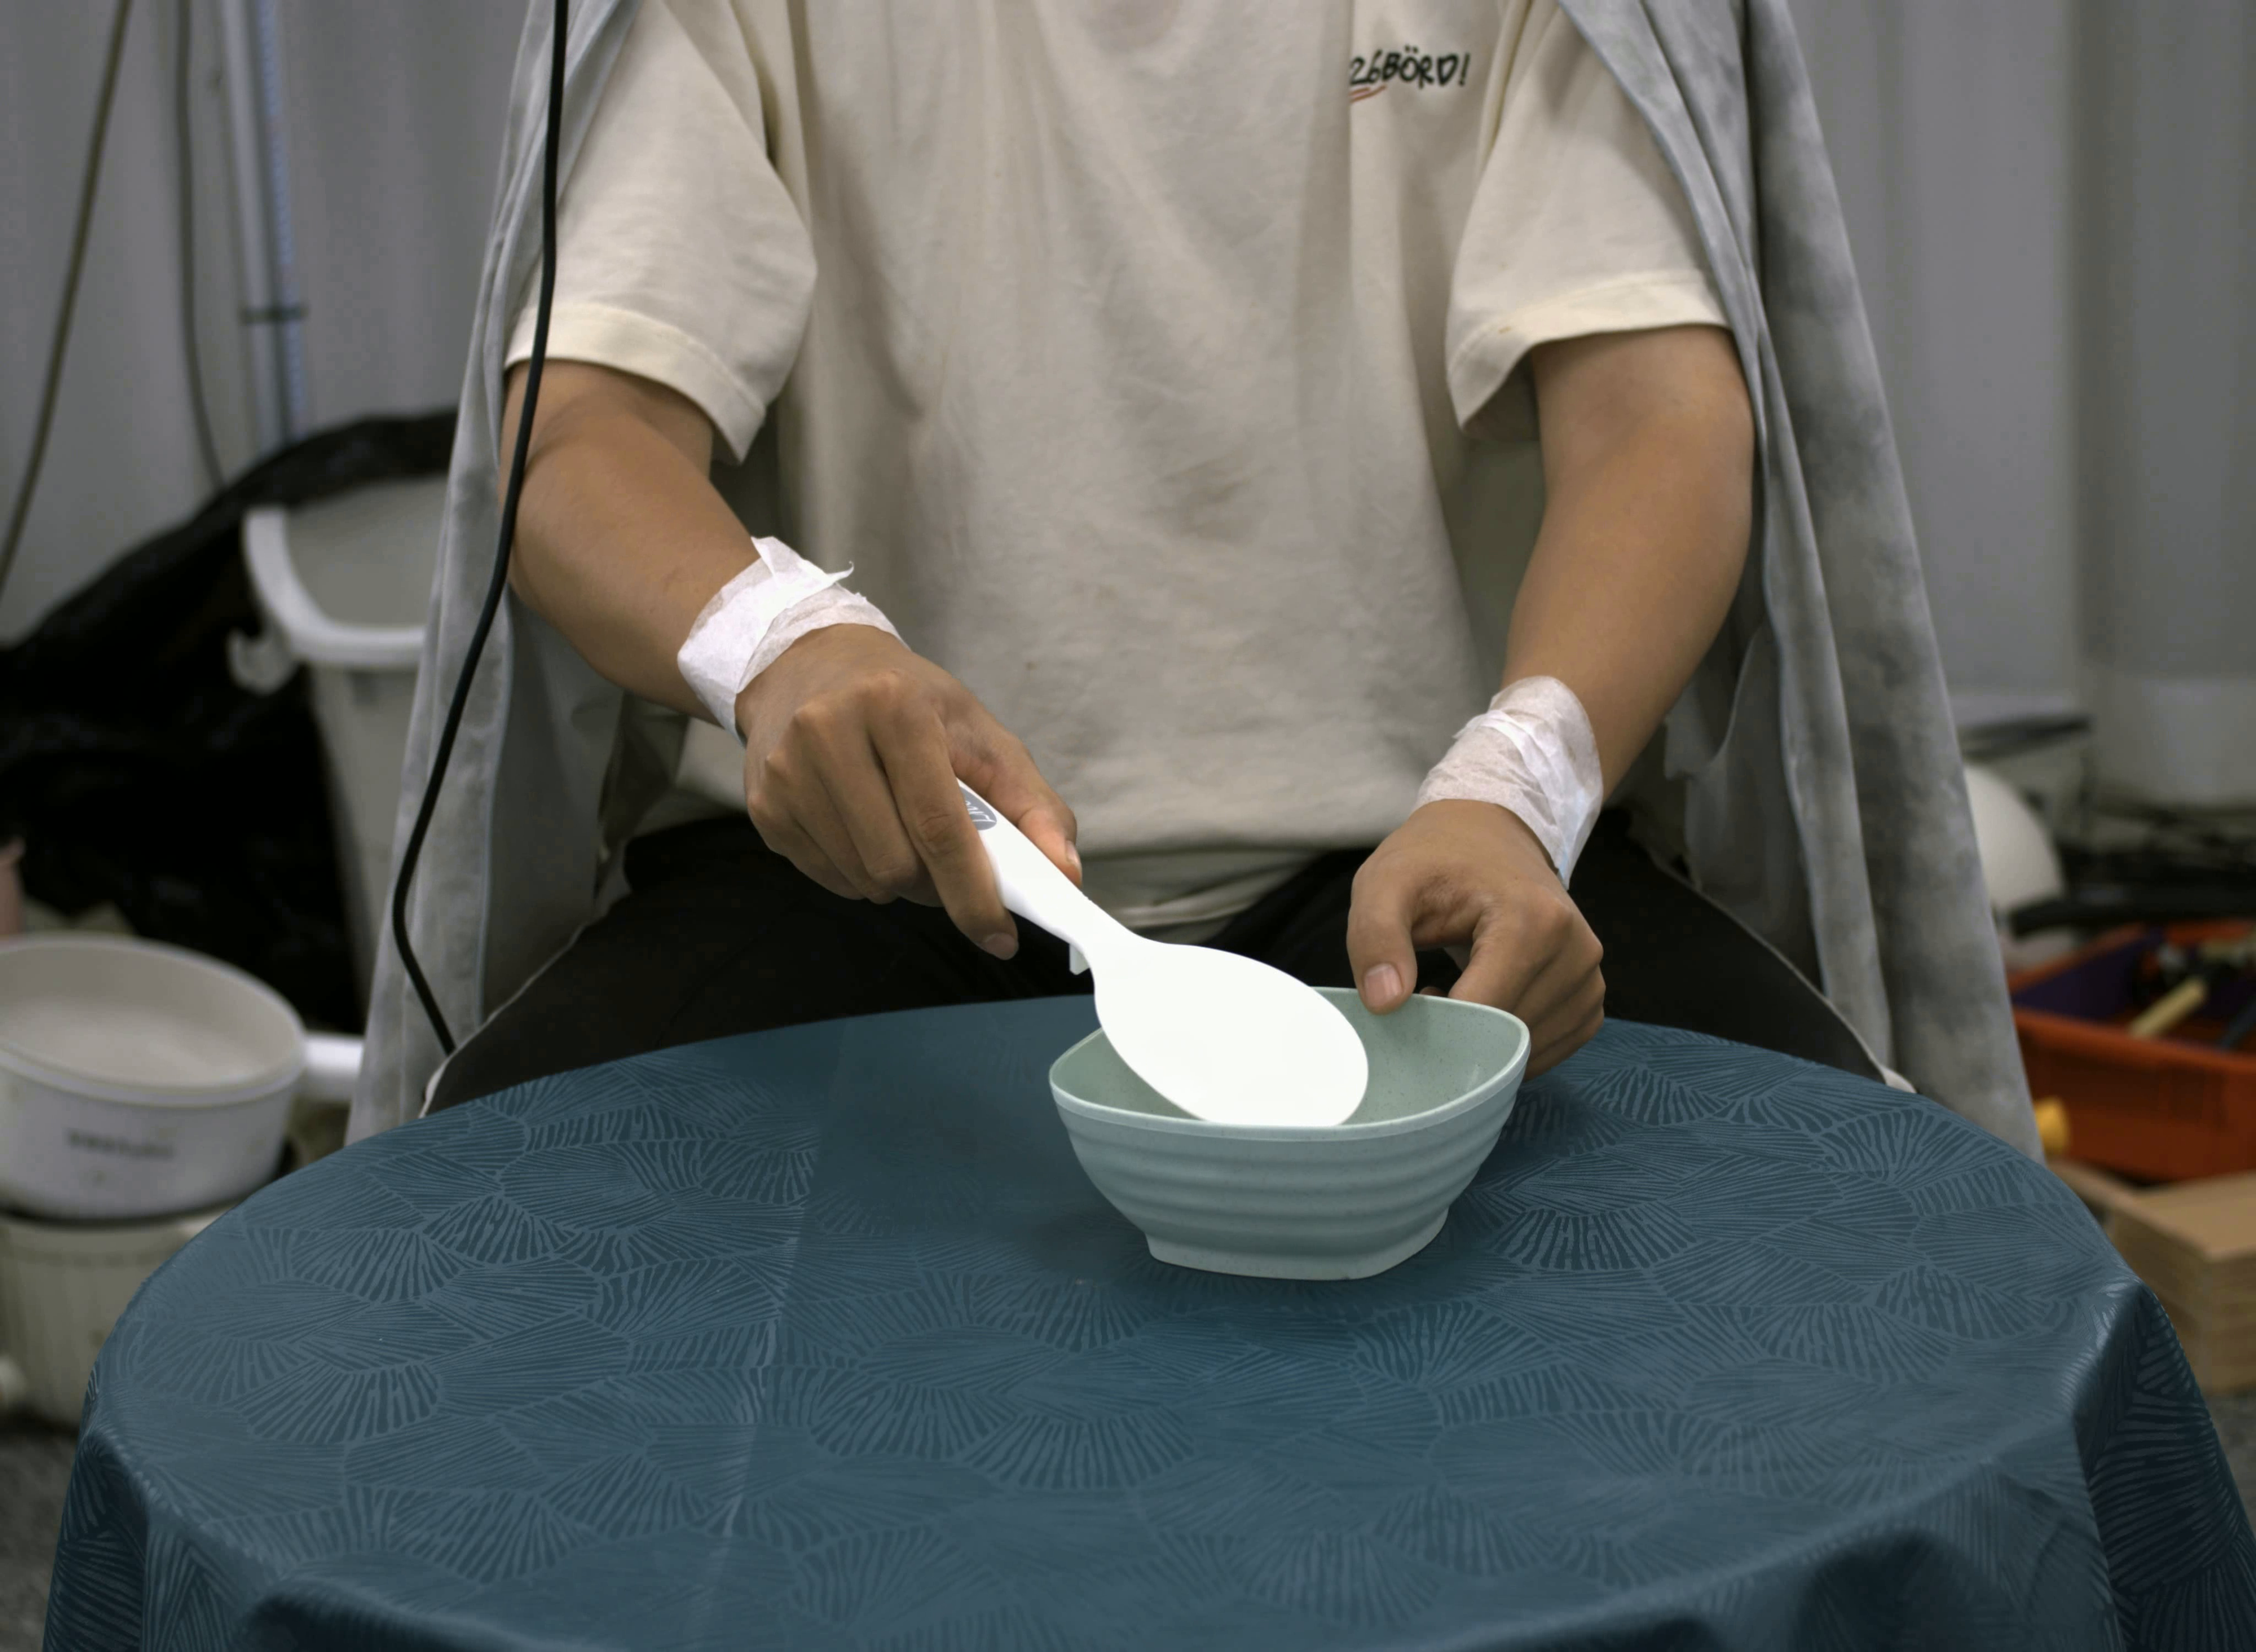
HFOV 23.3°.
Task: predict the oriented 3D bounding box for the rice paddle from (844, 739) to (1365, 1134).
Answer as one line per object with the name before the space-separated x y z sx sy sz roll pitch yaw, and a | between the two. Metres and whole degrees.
rice paddle | -0.008 0.035 1.689 0.069 0.029 0.207 -30 51 -33

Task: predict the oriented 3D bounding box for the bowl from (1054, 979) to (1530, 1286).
bowl | 0.052 0.097 1.666 0.151 0.058 0.152 -4 17 1
